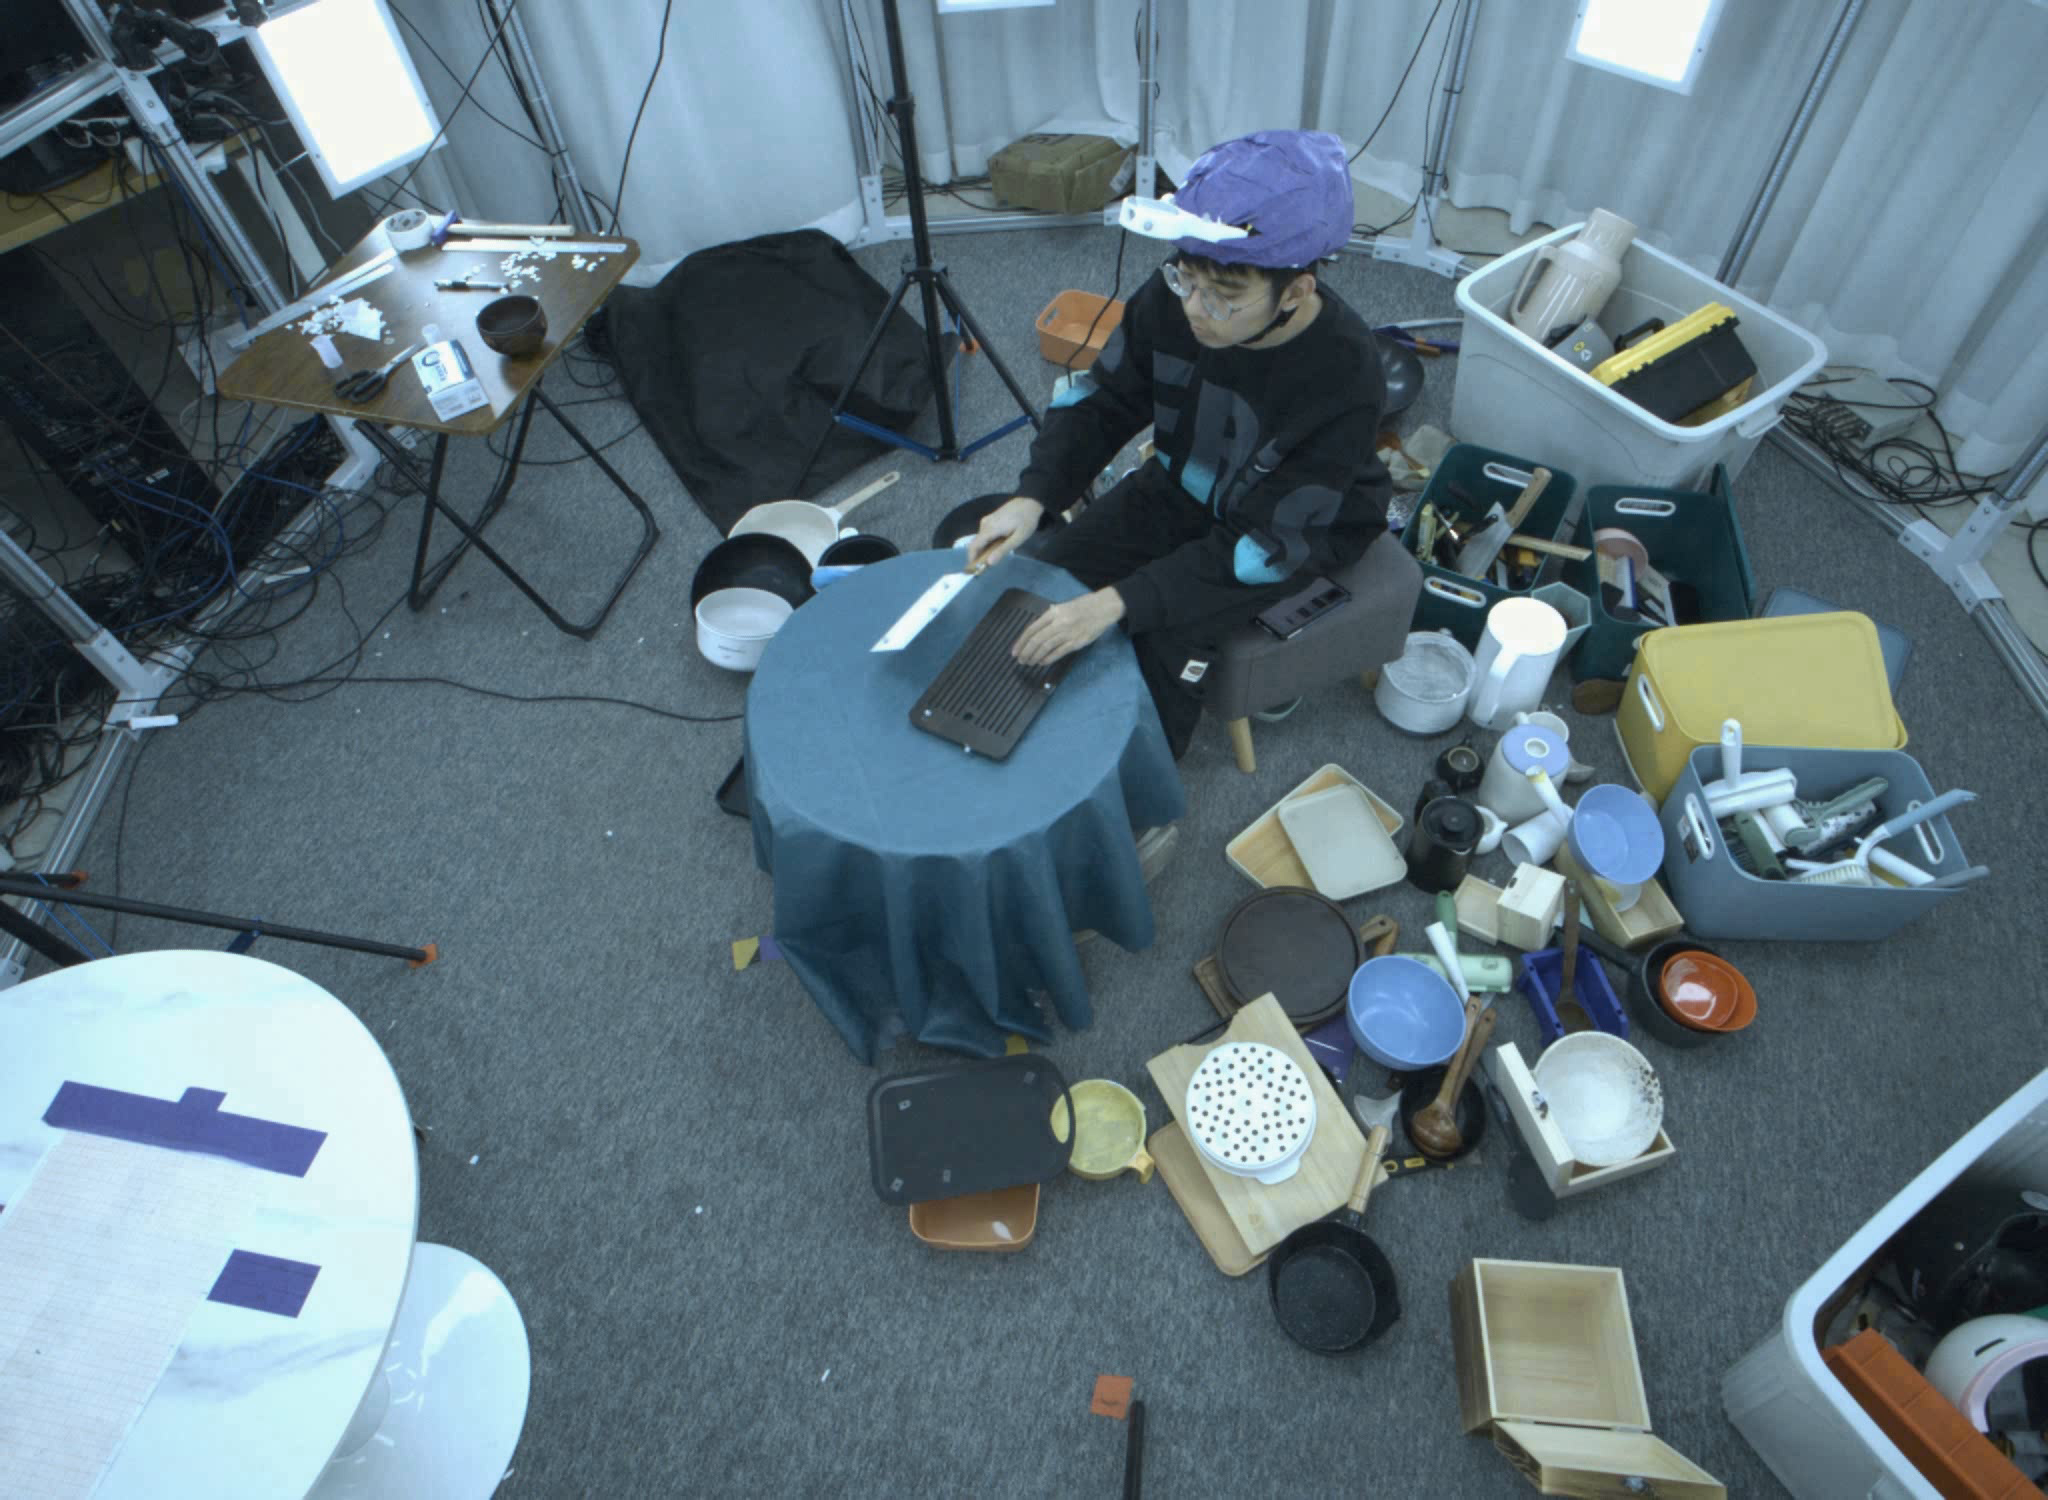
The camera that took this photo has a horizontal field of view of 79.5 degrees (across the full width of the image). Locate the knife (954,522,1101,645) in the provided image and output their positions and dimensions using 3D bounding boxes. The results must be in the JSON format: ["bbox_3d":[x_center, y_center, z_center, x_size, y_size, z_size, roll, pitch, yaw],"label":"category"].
[{"bbox_3d":[0.002,-0.256,1.885,0.307,0.021,0.091,-46,27,-27],"label":"knife"}]

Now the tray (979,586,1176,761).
[{"bbox_3d":[0.083,-0.119,1.857,0.167,0.019,0.307,28,61,21],"label":"tray"}]
